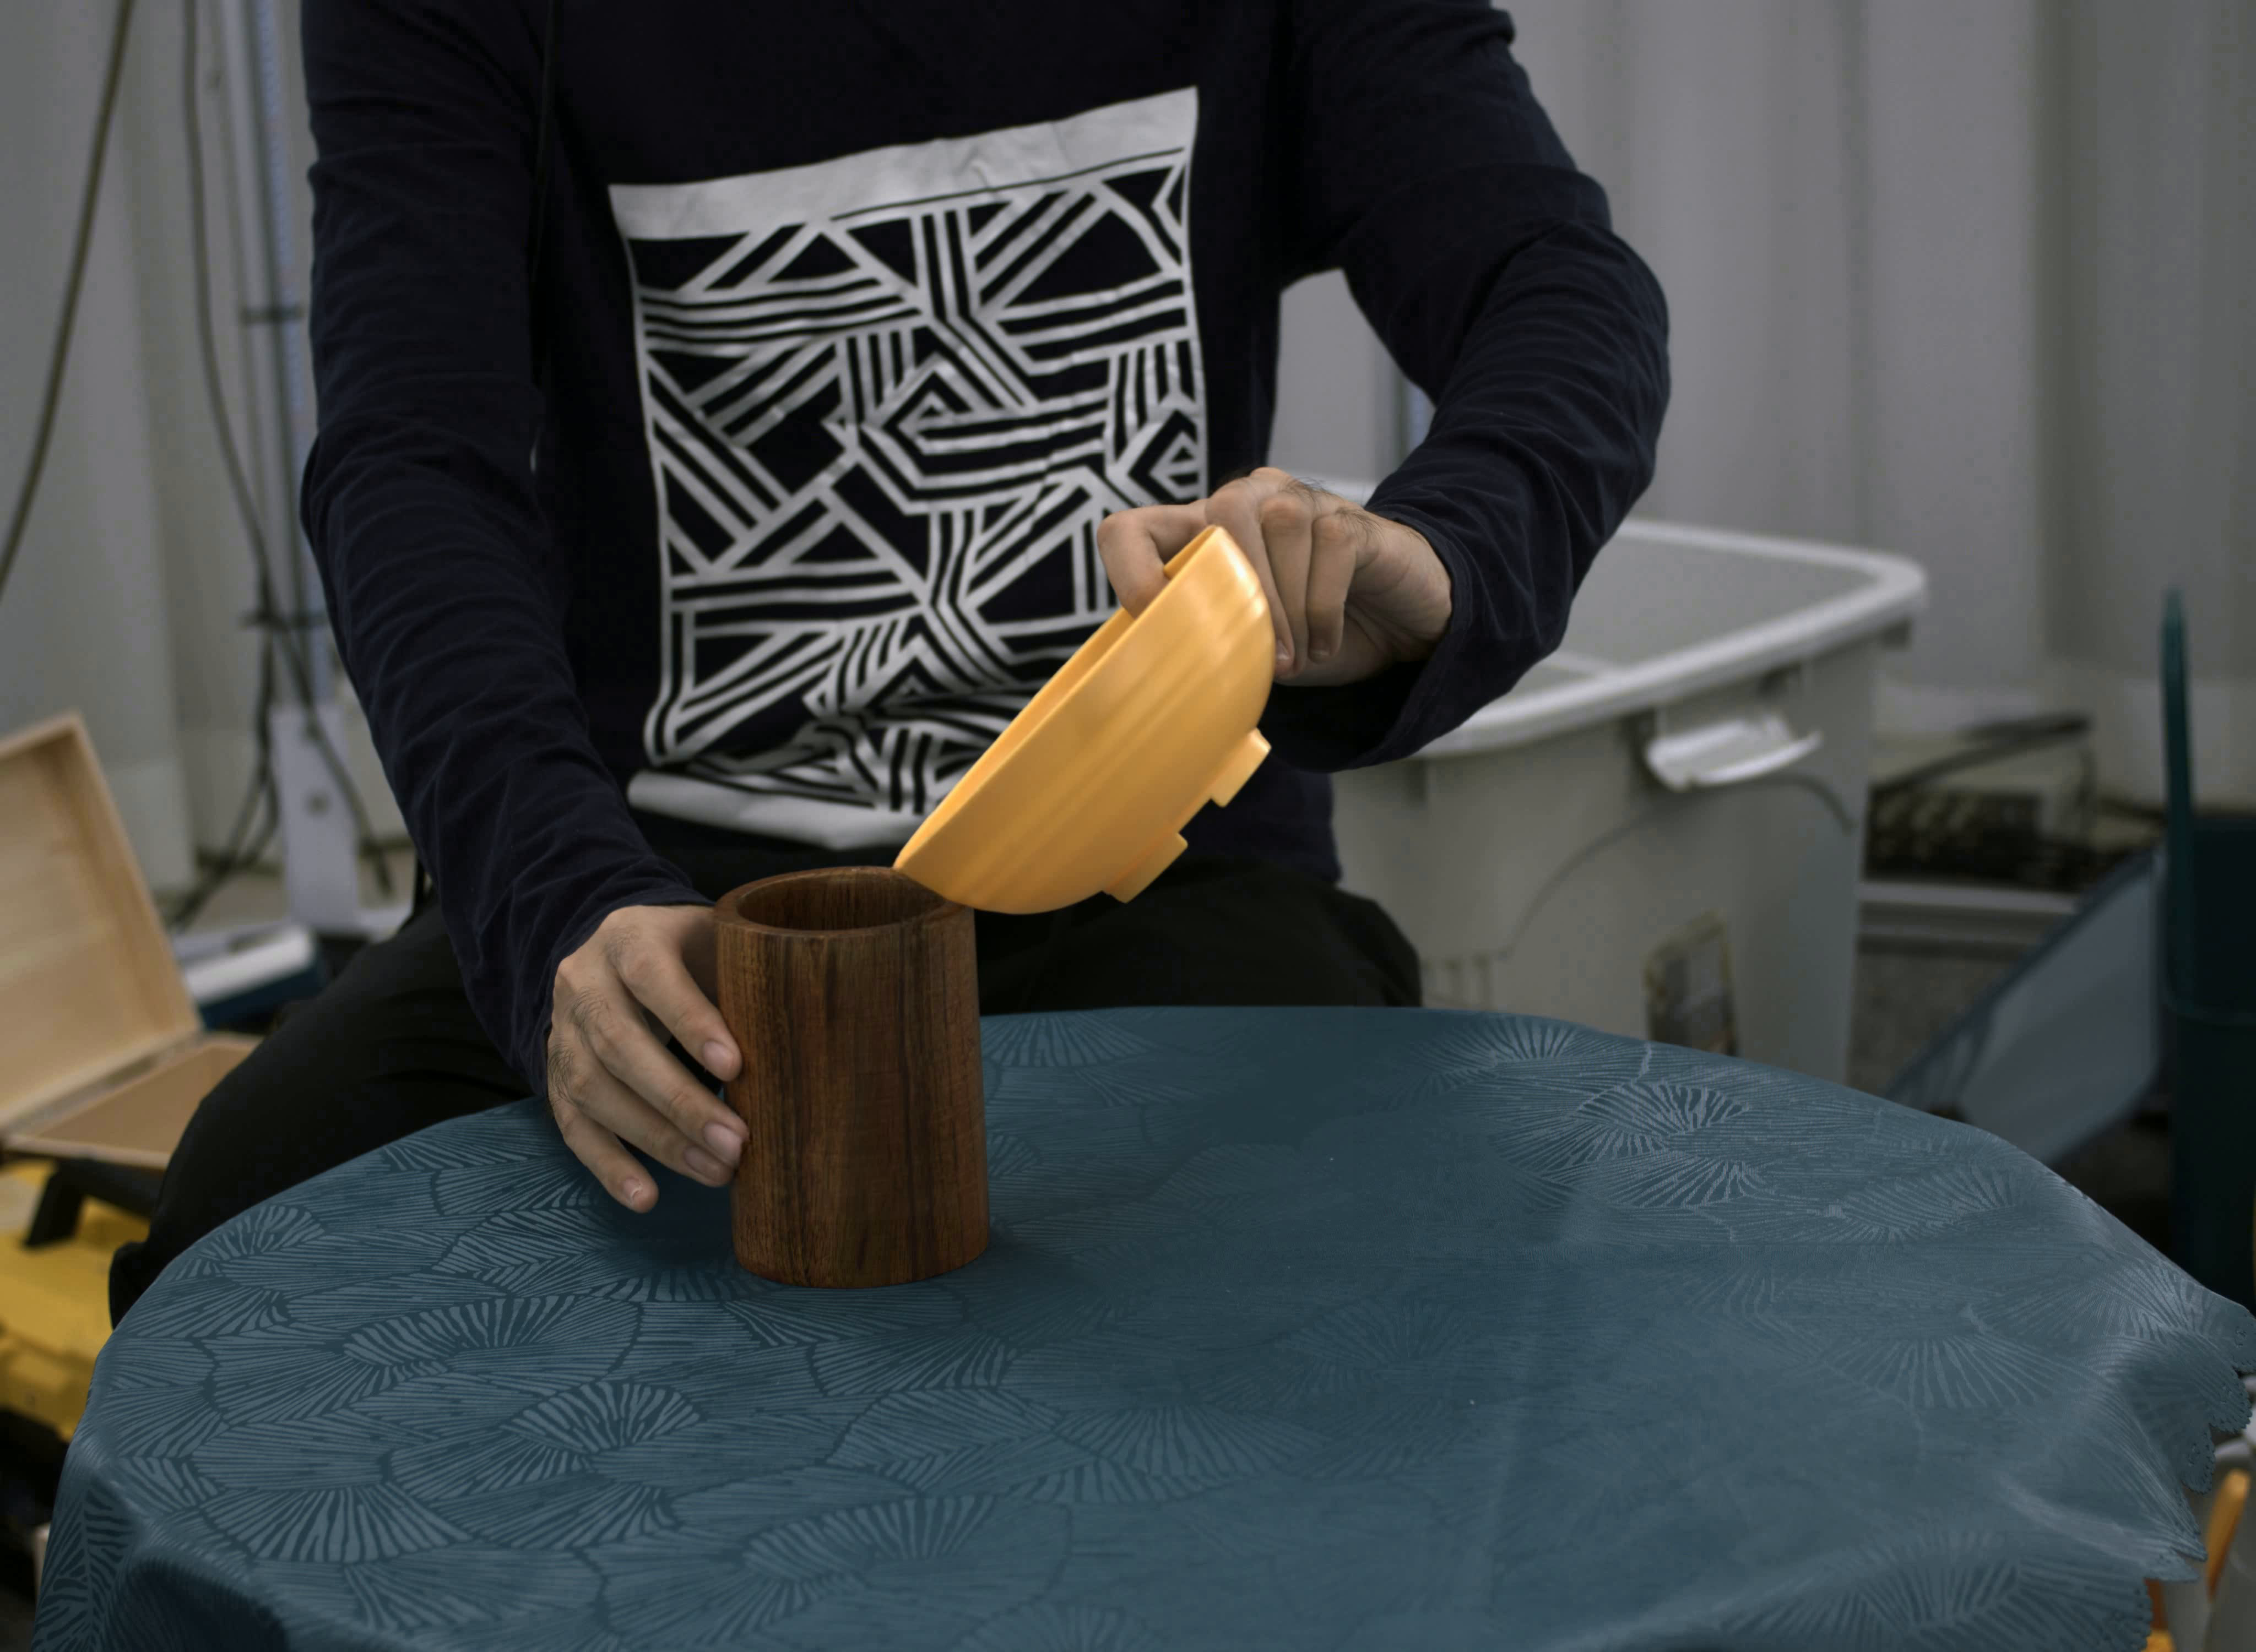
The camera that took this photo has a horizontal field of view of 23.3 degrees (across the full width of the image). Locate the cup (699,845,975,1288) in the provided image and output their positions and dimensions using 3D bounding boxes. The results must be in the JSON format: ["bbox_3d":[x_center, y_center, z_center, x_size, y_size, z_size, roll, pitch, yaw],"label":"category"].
[{"bbox_3d":[-0.088,0.072,1.664,0.087,0.118,0.088,0,14,0],"label":"cup"}]

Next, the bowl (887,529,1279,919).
[{"bbox_3d":[-0.001,-0.018,1.629,0.145,0.060,0.145,-45,3,2],"label":"bowl"}]
